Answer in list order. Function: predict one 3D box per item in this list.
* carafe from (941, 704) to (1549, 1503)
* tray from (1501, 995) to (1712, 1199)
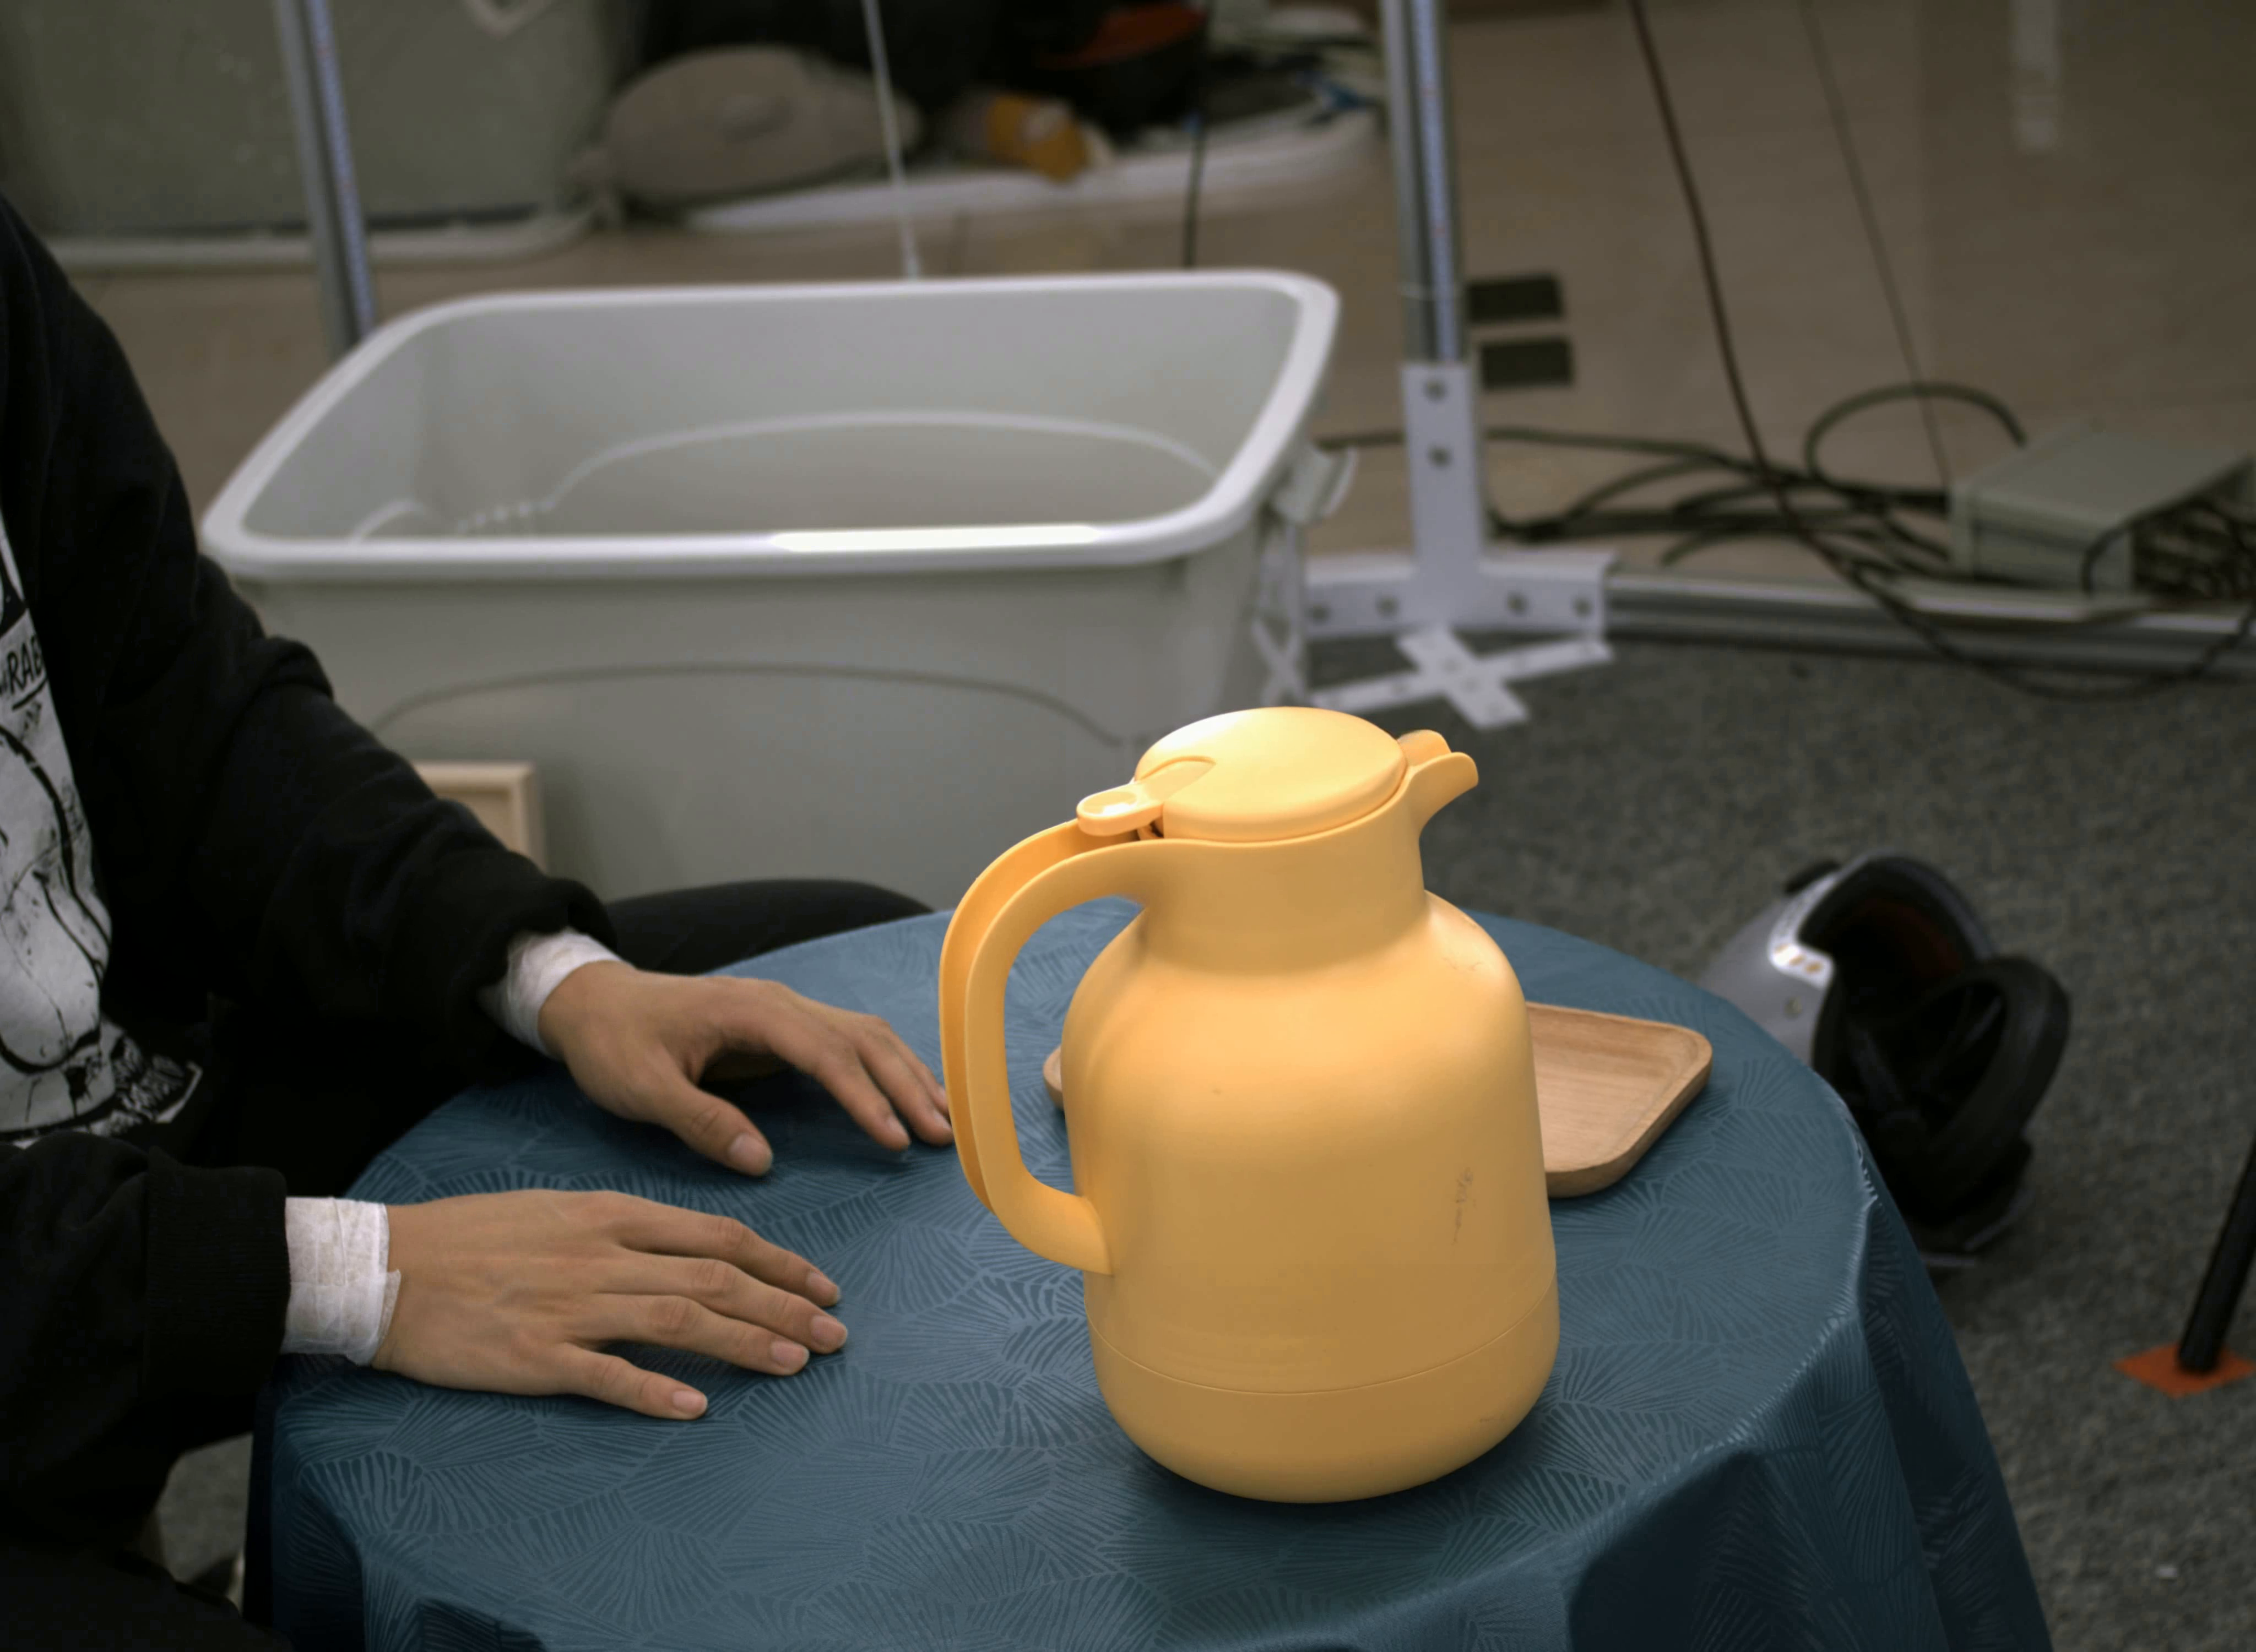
[{"bbox_3d":[0.039,0.093,1.924,0.202,0.264,0.161,-13,24,-16],"label":"carafe"},{"bbox_3d":[0.095,0.096,2.199,0.249,0.023,0.129,8,26,30],"label":"tray"}]
